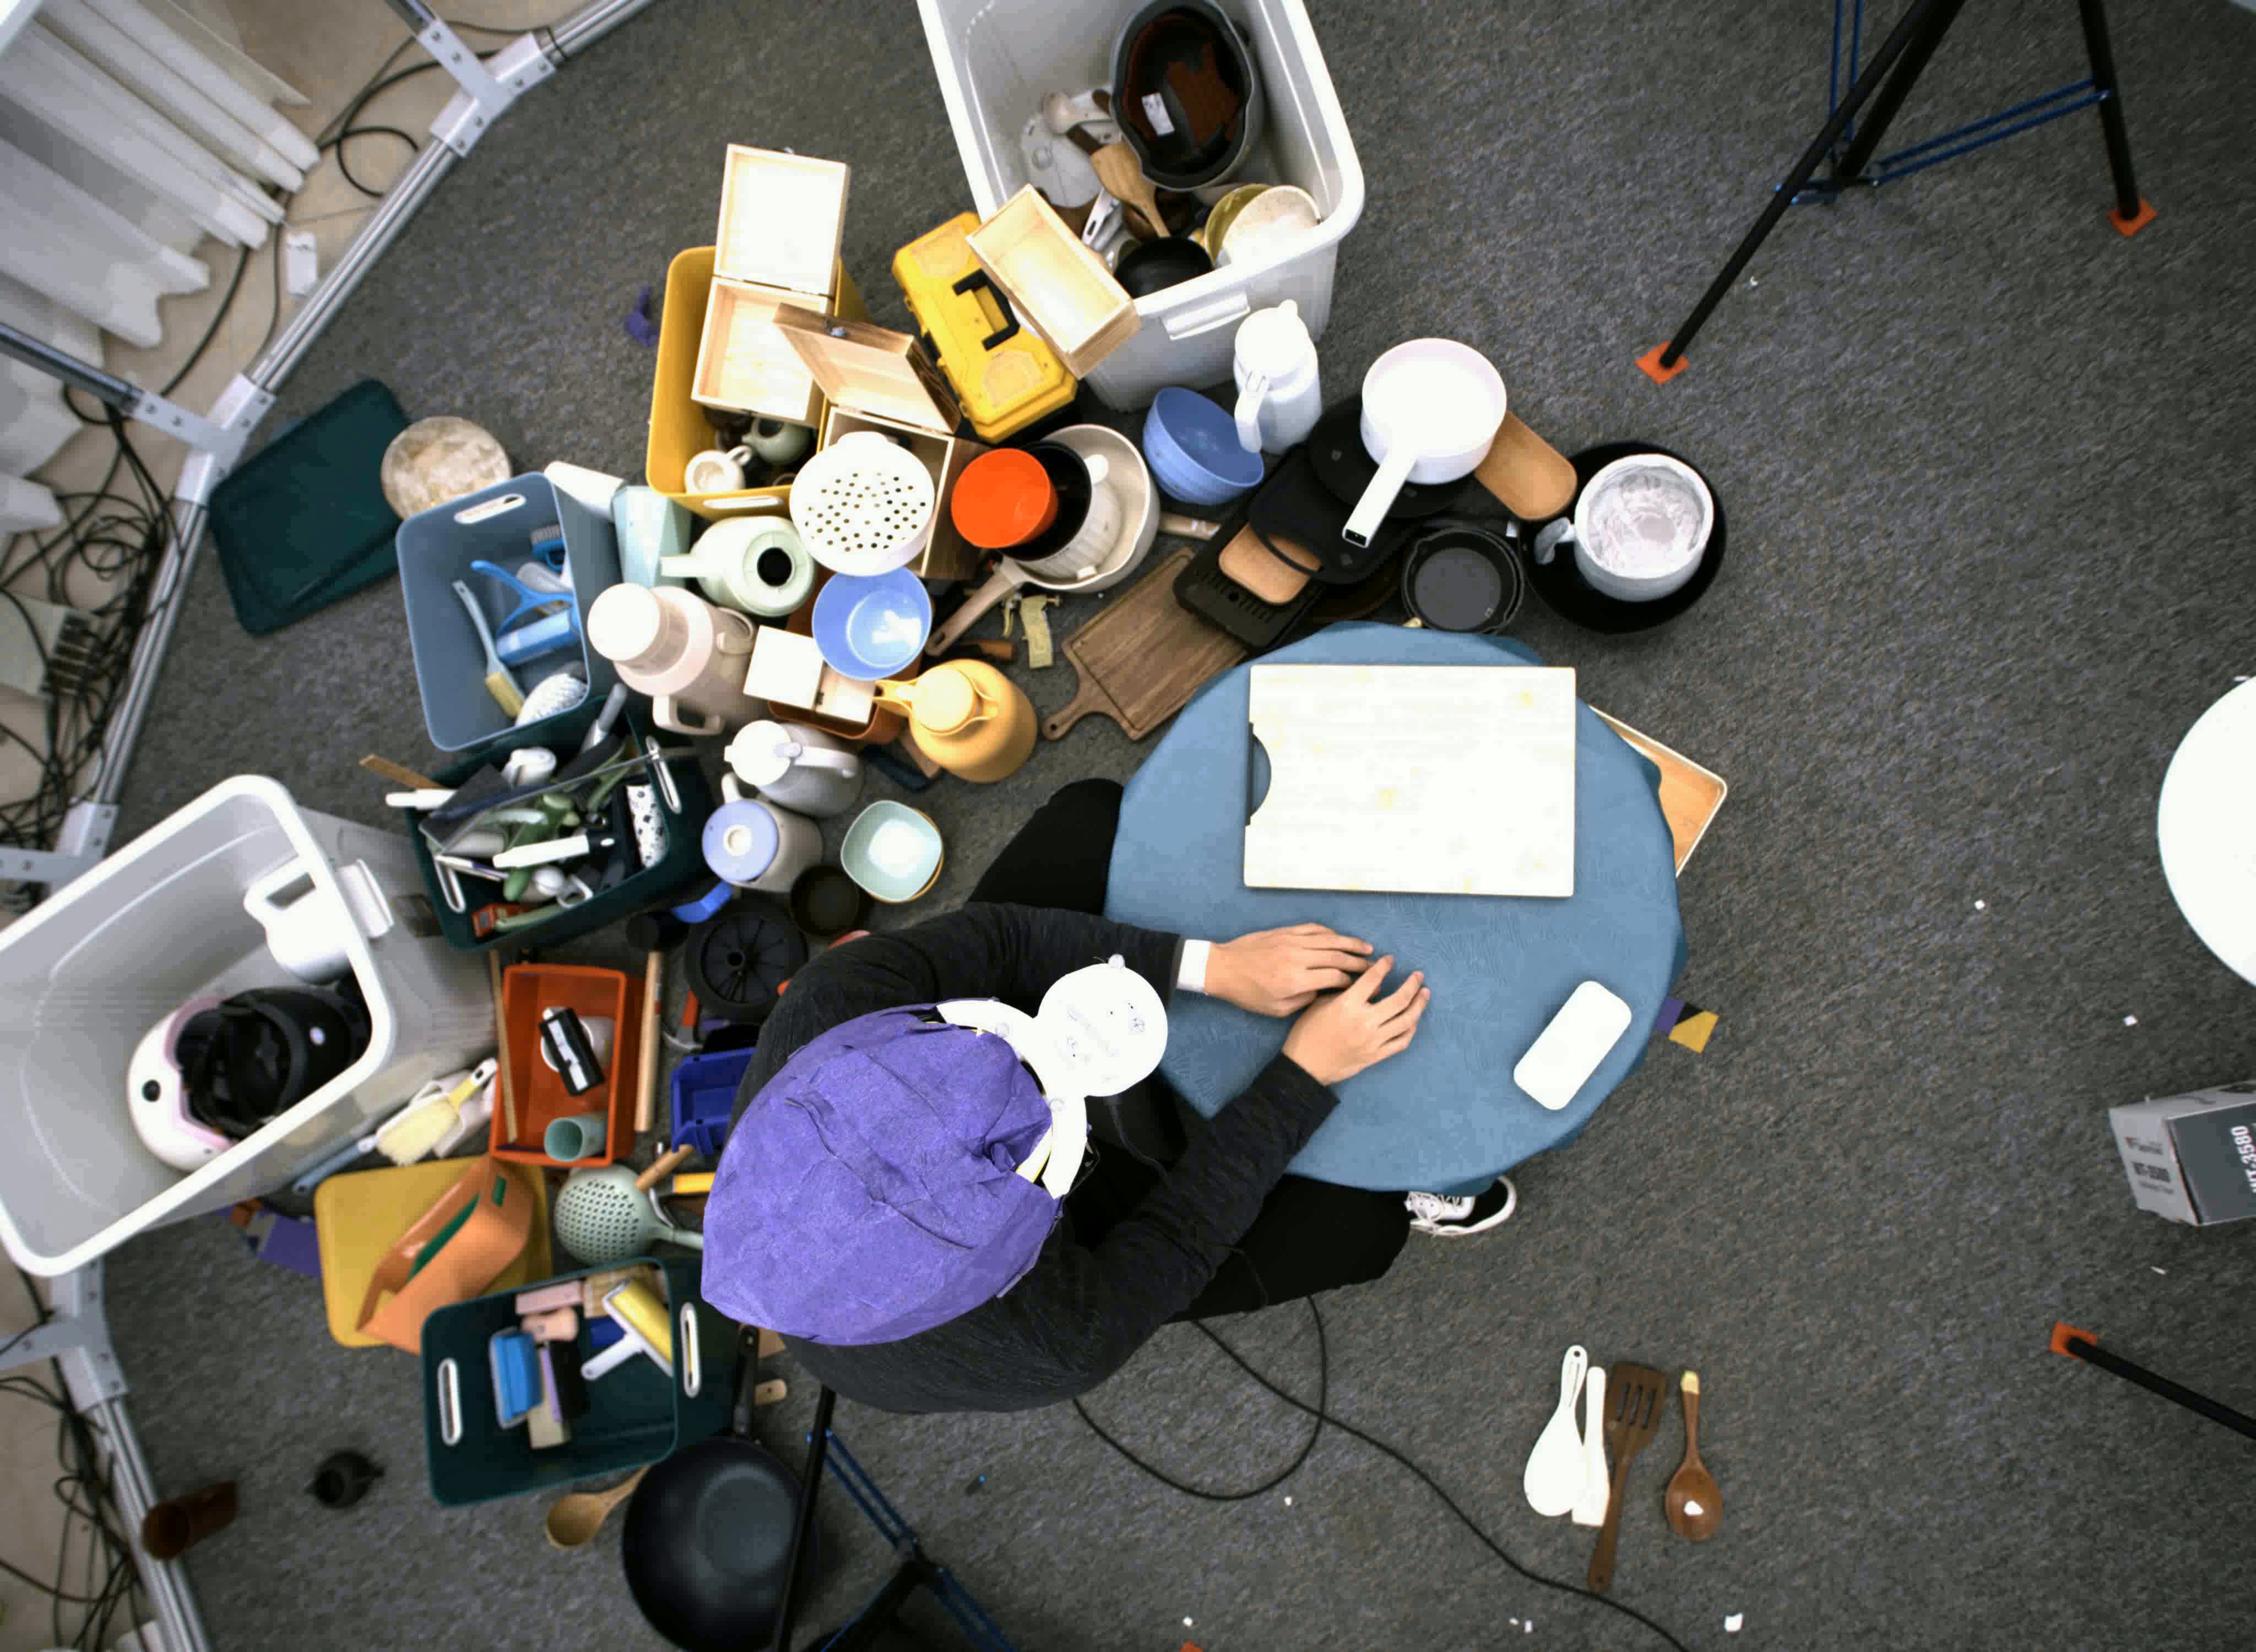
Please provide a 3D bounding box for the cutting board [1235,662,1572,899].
[{"bbox_3d":[0.290,-0.053,1.455,0.350,0.023,0.249,1,87,11],"label":"cutting board"}]

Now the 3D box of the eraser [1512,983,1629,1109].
[{"bbox_3d":[0.450,0.220,1.403,0.063,0.034,0.131,39,93,10],"label":"eraser"}]
